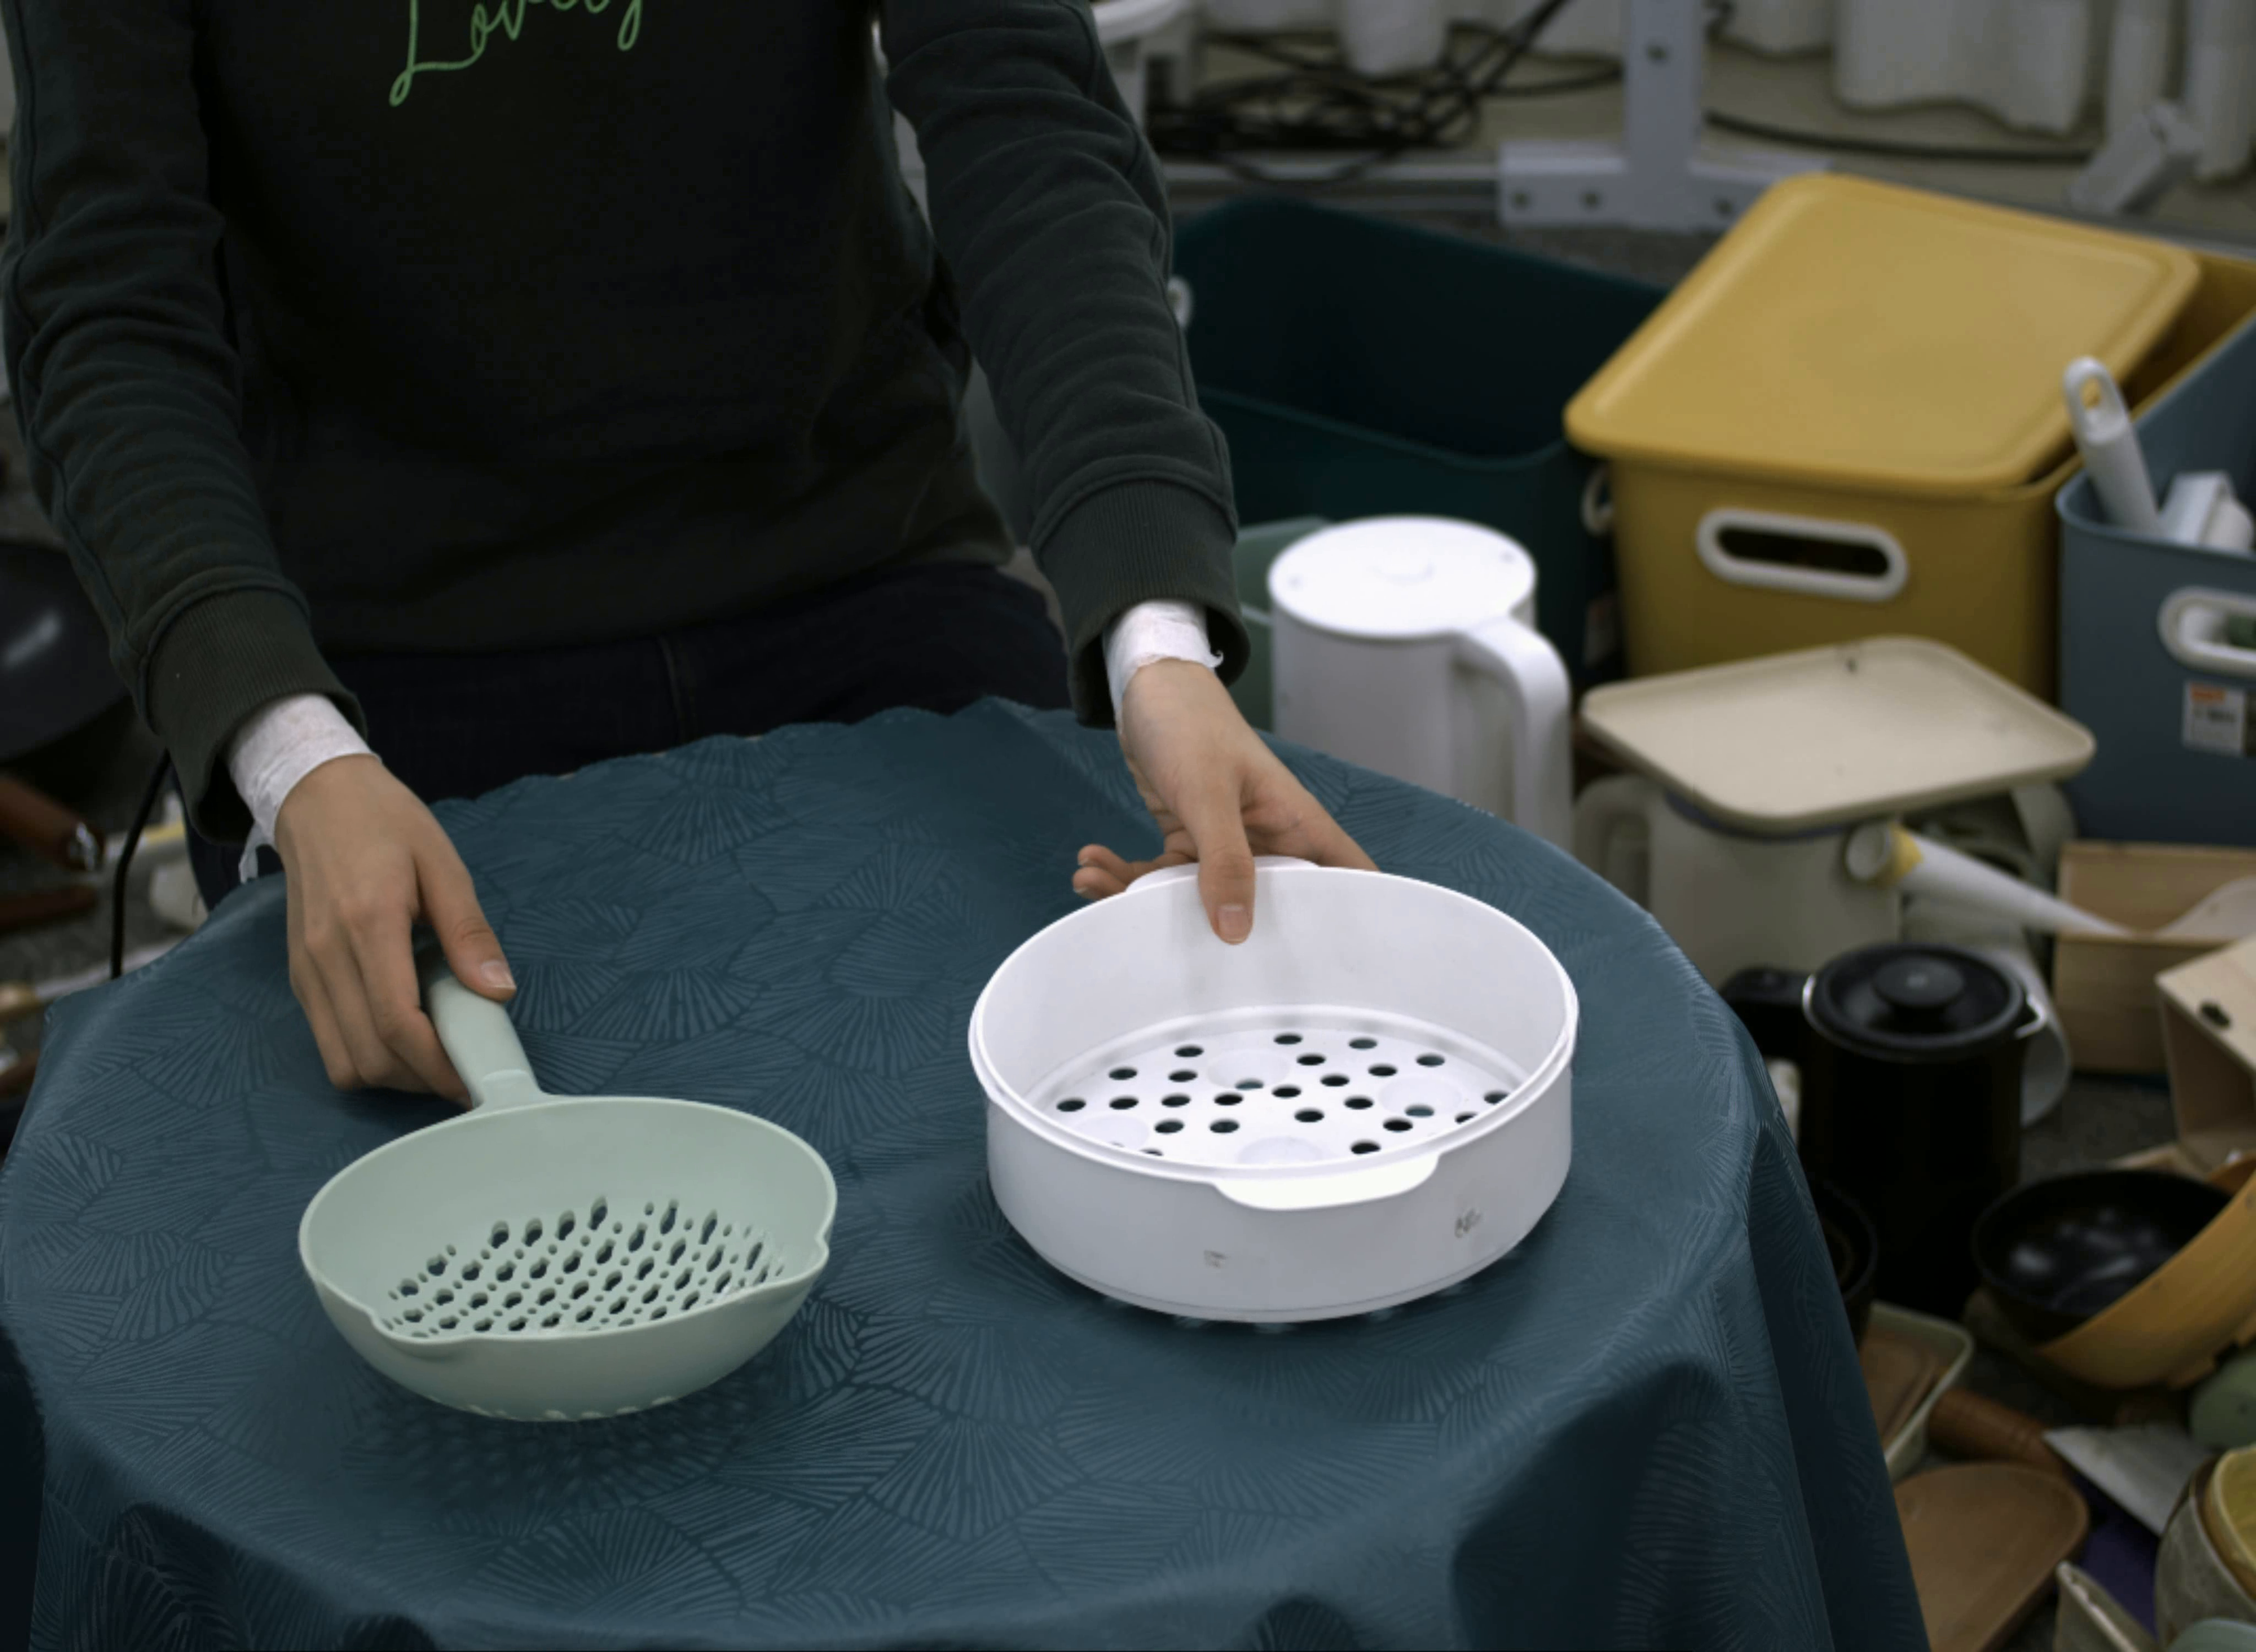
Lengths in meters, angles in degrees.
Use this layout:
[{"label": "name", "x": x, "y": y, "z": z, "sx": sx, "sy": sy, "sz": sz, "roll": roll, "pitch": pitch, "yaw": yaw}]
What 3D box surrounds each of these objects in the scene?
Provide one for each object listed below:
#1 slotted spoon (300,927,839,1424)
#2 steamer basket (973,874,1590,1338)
[{"label": "slotted spoon", "x": -0.201, "y": 0.099, "z": 1.849, "sx": 0.169, "sy": 0.074, "sz": 0.363, "roll": -7, "pitch": 30, "yaw": -14}, {"label": "steamer basket", "x": 0.051, "y": 0.093, "z": 1.843, "sx": 0.201, "sy": 0.068, "sz": 0.233, "roll": -6, "pitch": 27, "yaw": -8}]
